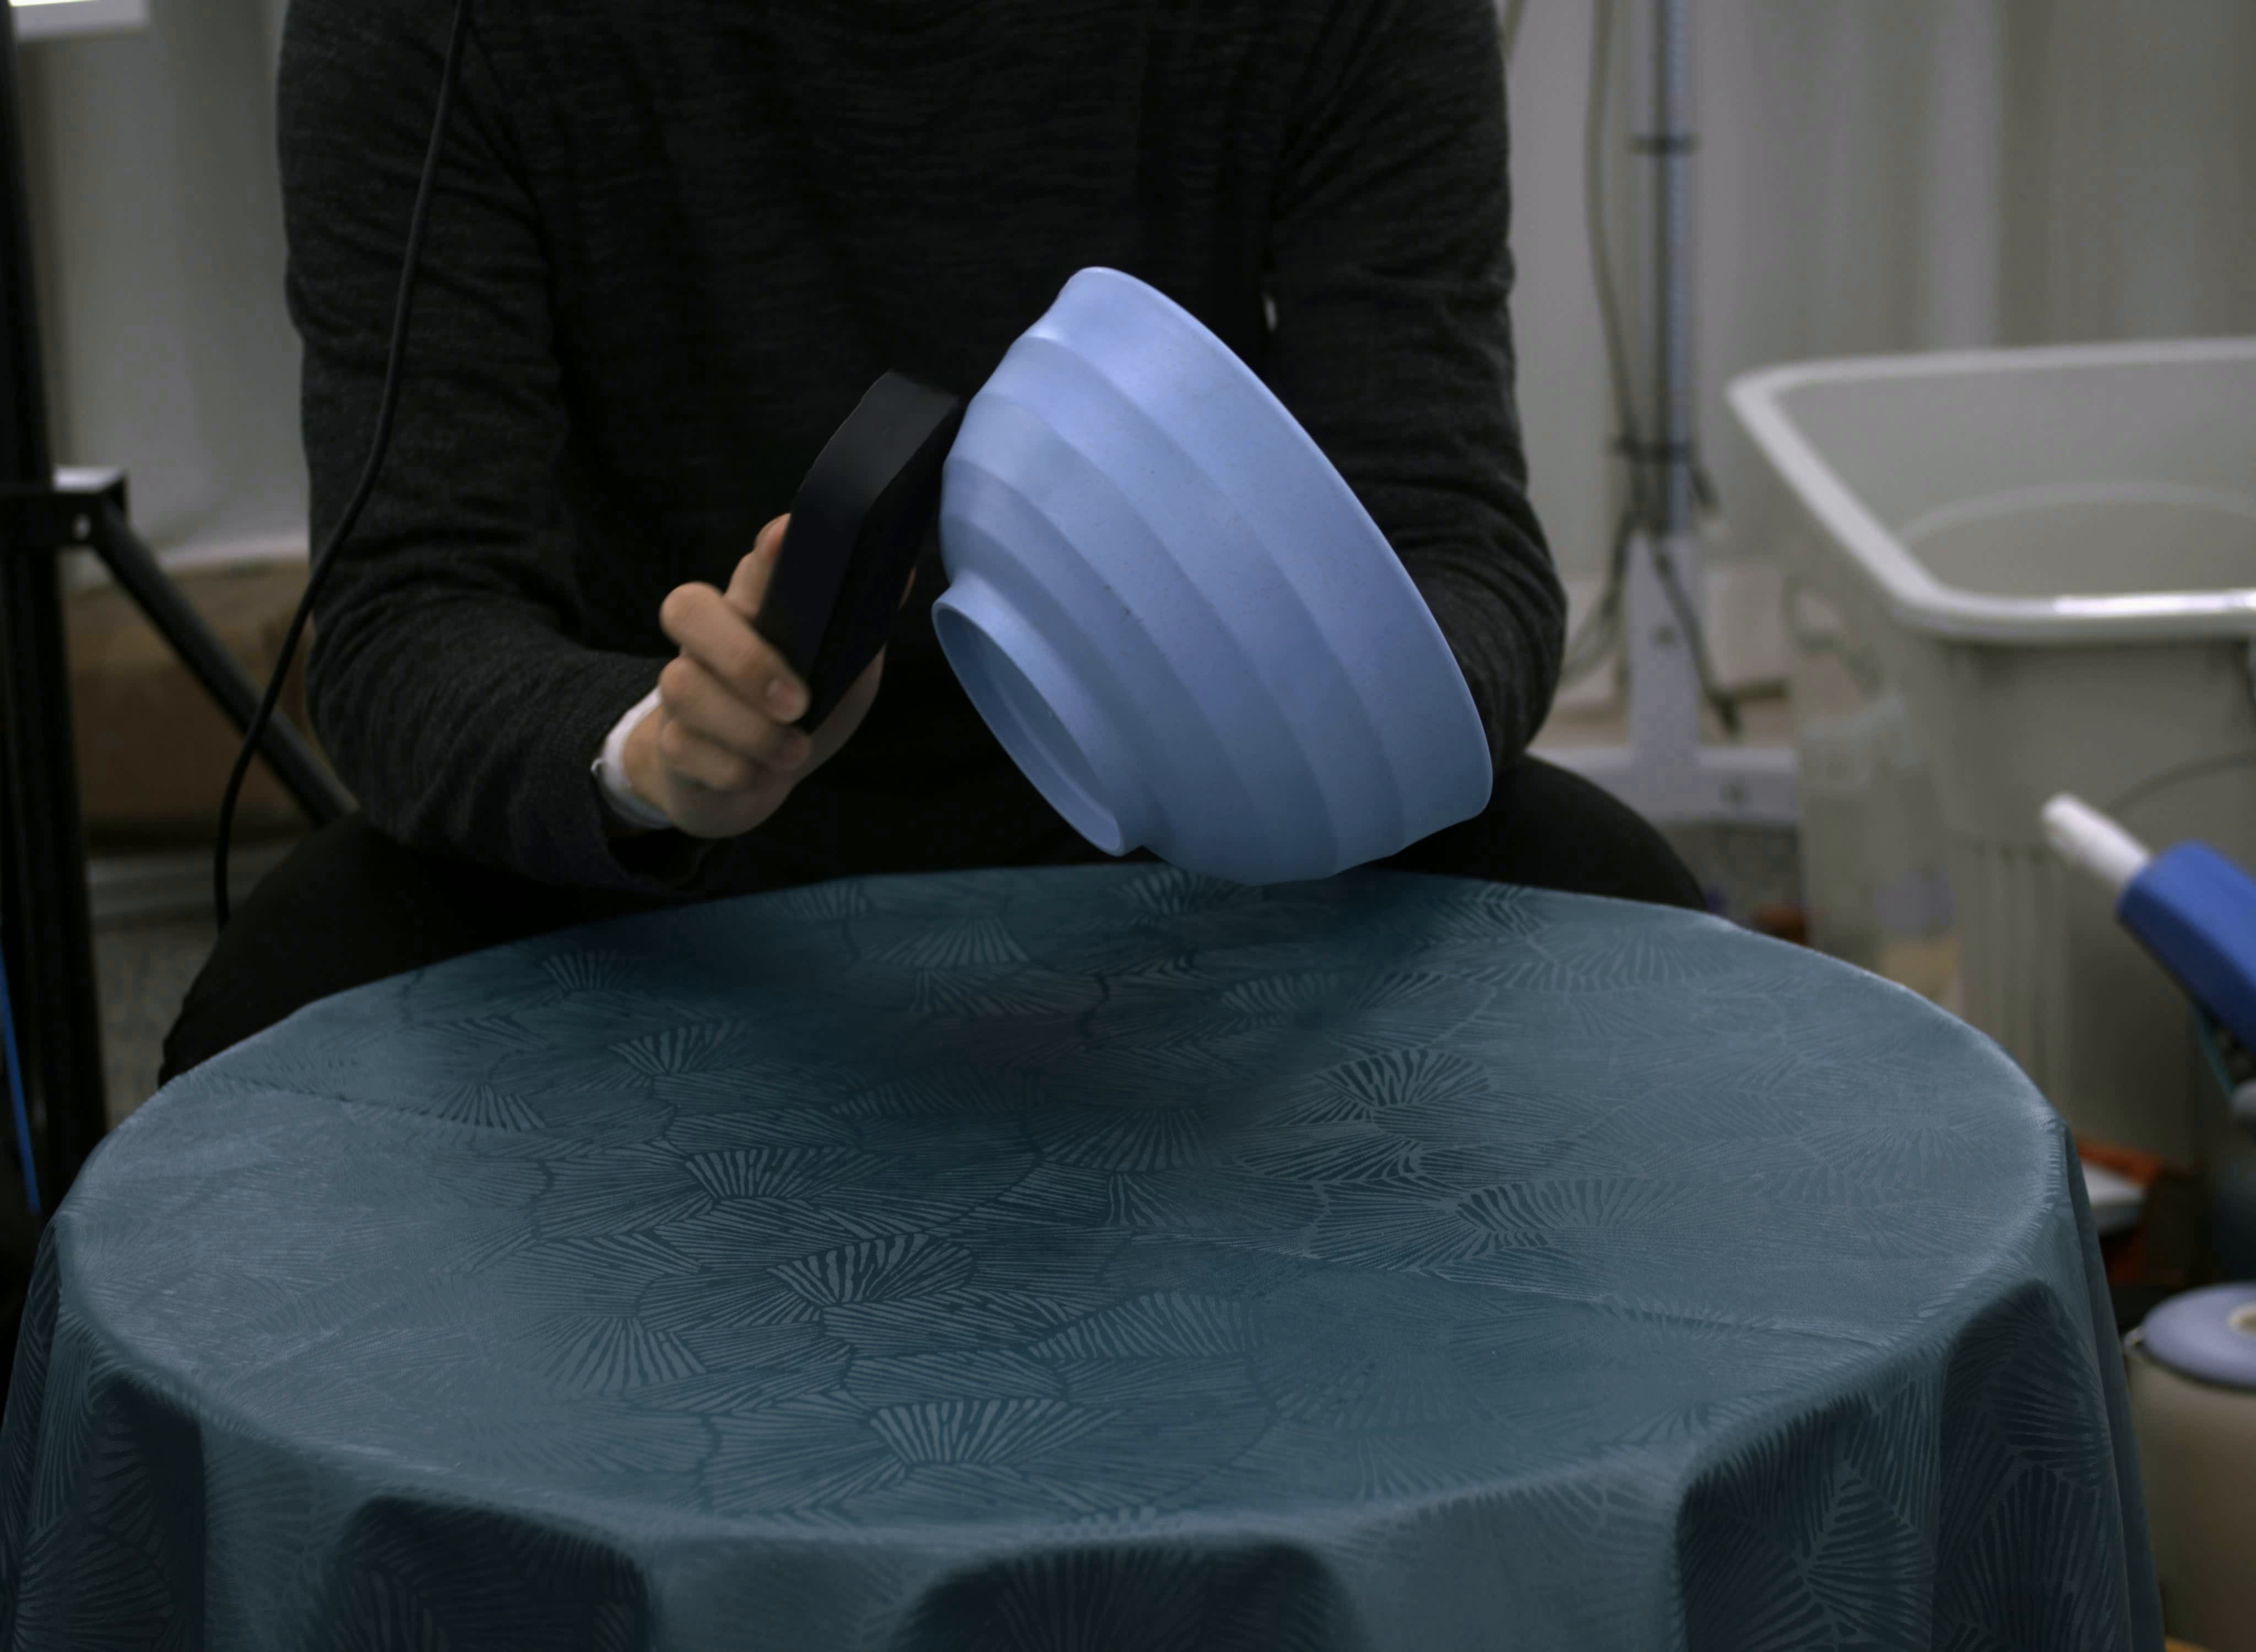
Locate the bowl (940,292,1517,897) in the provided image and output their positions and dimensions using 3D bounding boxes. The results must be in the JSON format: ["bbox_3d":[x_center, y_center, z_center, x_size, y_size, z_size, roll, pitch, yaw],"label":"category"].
[{"bbox_3d":[0.012,-0.049,1.543,0.095,0.193,0.200,-43,28,-12],"label":"bowl"}]

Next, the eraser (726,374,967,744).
[{"bbox_3d":[-0.085,-0.079,1.588,0.030,0.126,0.053,36,55,8],"label":"eraser"}]
